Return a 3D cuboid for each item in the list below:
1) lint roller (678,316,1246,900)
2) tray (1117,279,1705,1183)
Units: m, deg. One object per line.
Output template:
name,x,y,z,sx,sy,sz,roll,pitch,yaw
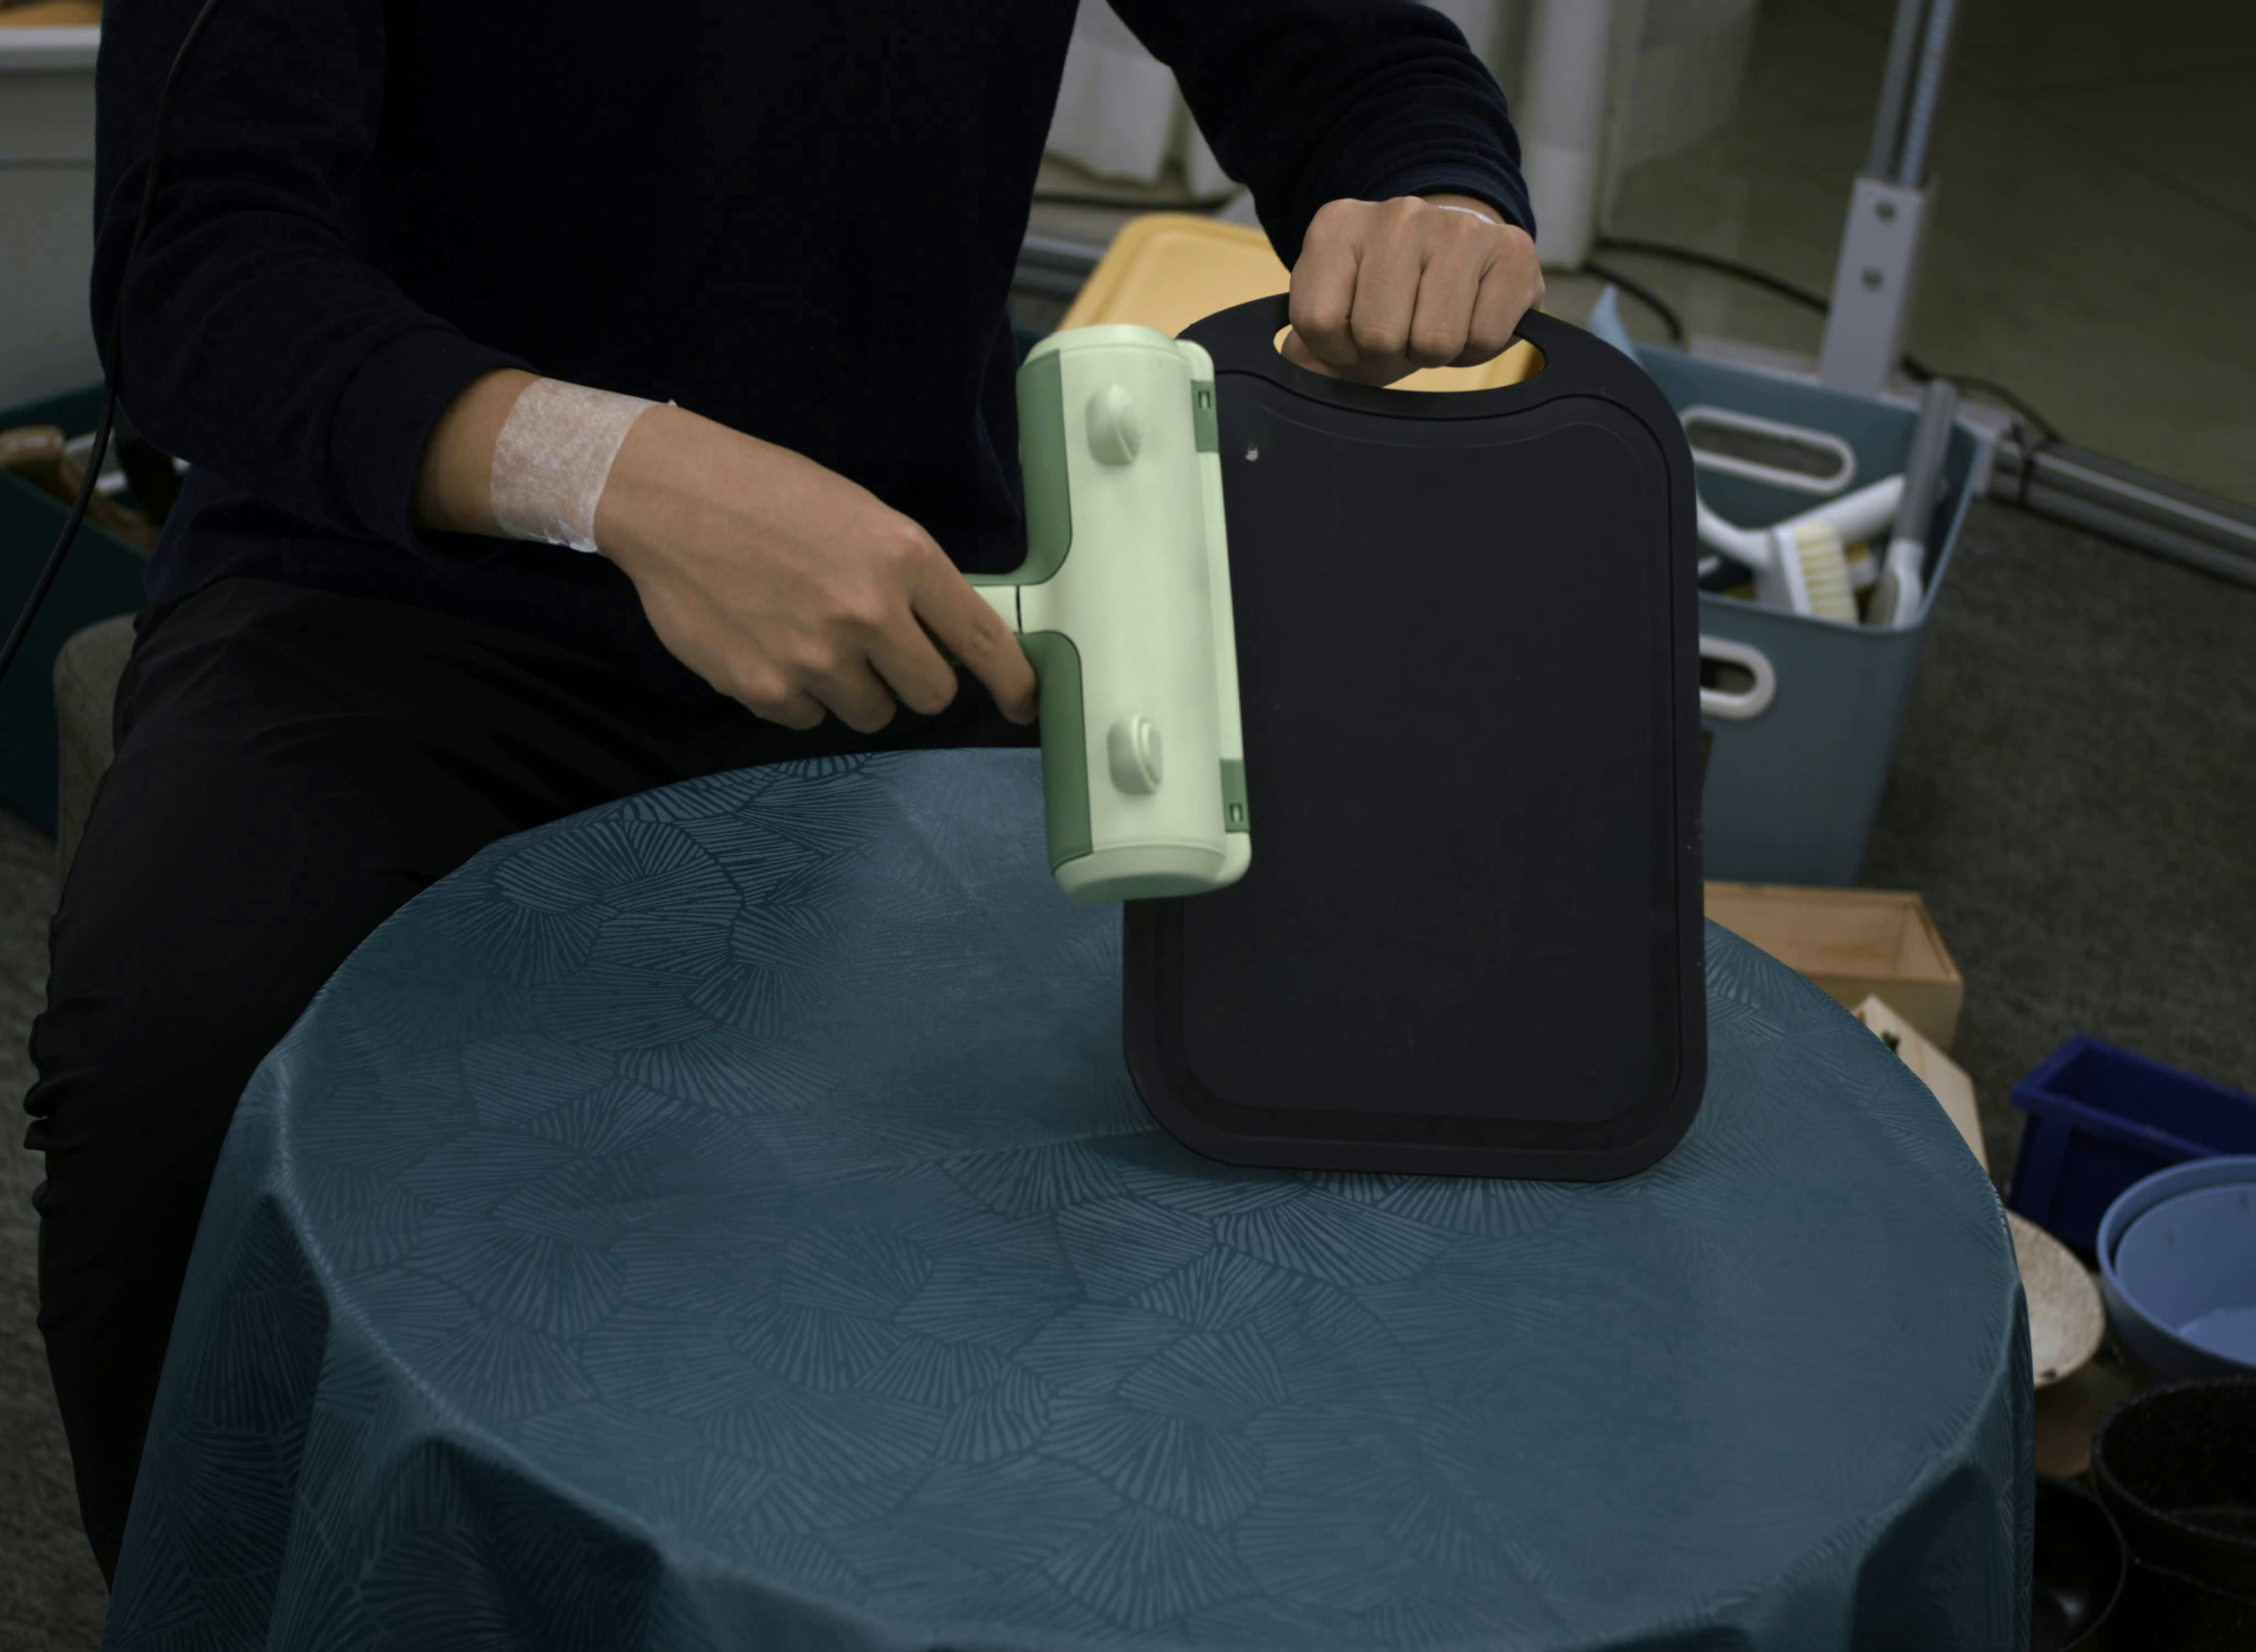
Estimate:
lint roller,-0.054,-0.076,1.786,0.182,0.200,0.082,0,-16,-18
tray,0.100,-0.038,1.864,0.210,0.327,0.010,4,-16,-11
